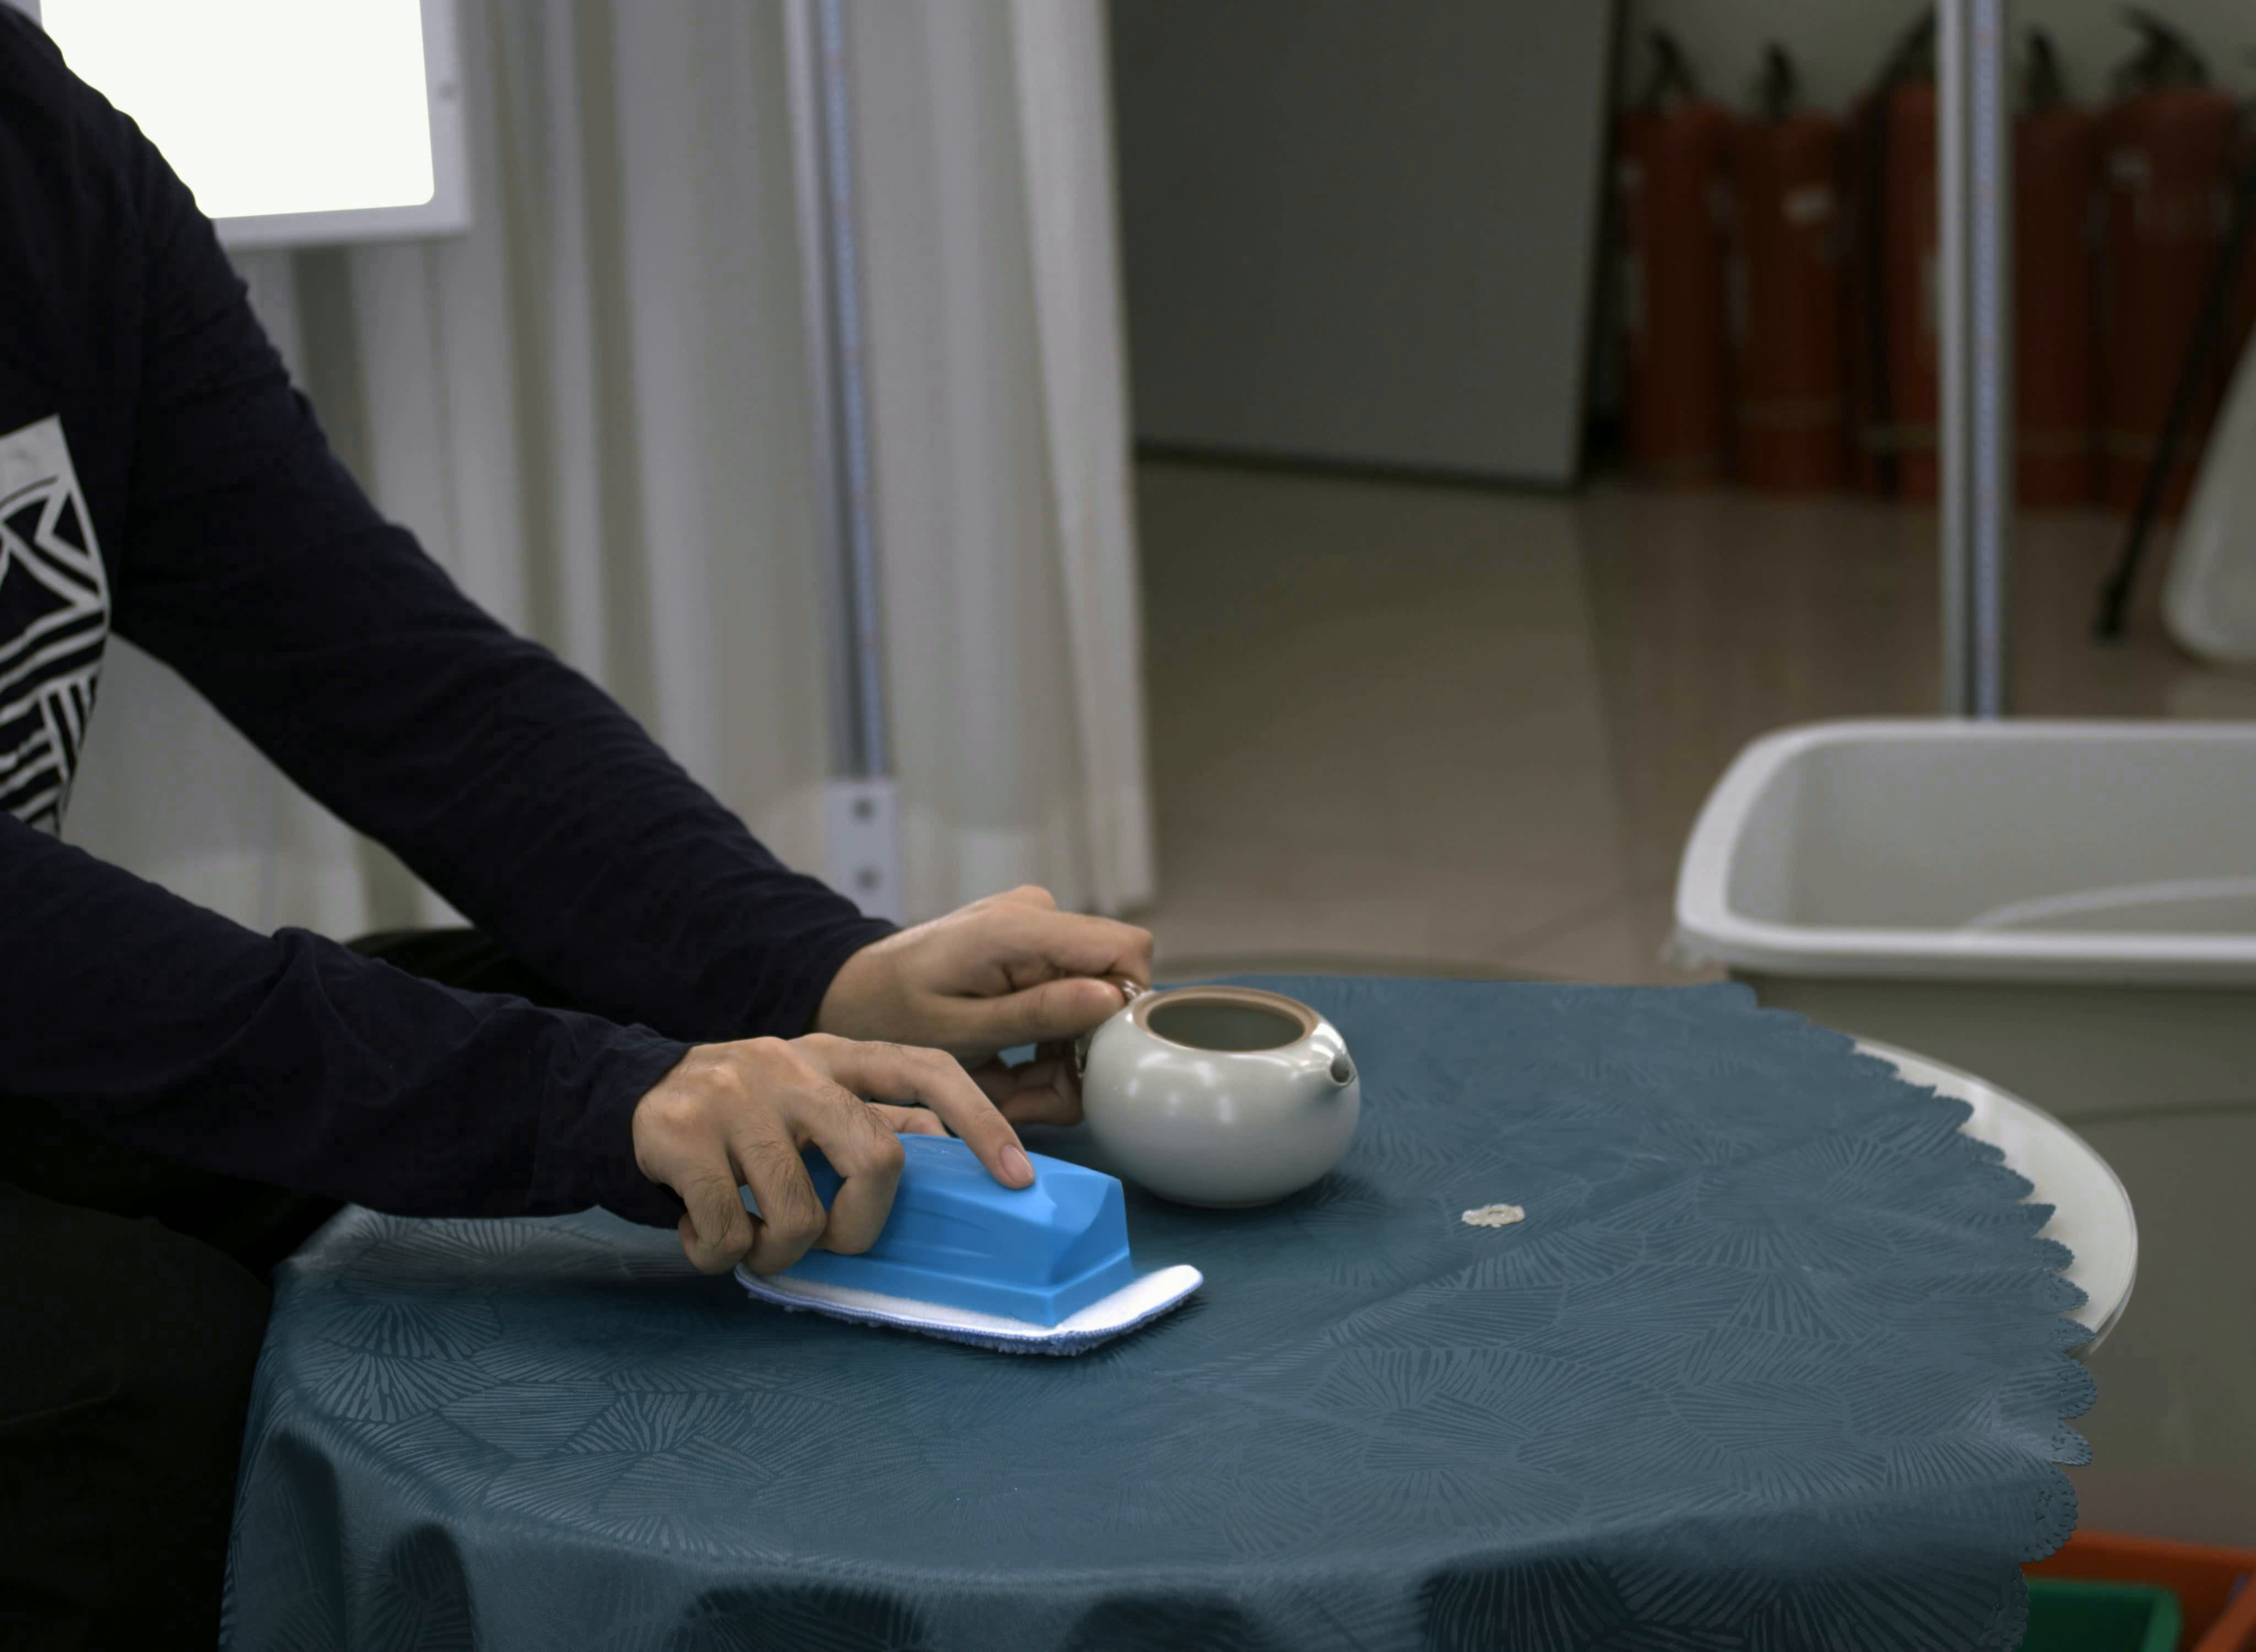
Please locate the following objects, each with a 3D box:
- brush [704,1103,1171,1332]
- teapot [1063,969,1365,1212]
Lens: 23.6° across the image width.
[{"bbox_3d":[-0.059,0.120,1.672,0.145,0.056,0.082,10,16,38],"label":"brush"},{"bbox_3d":[0.025,0.086,1.768,0.129,0.060,0.090,21,28,40],"label":"teapot"}]
